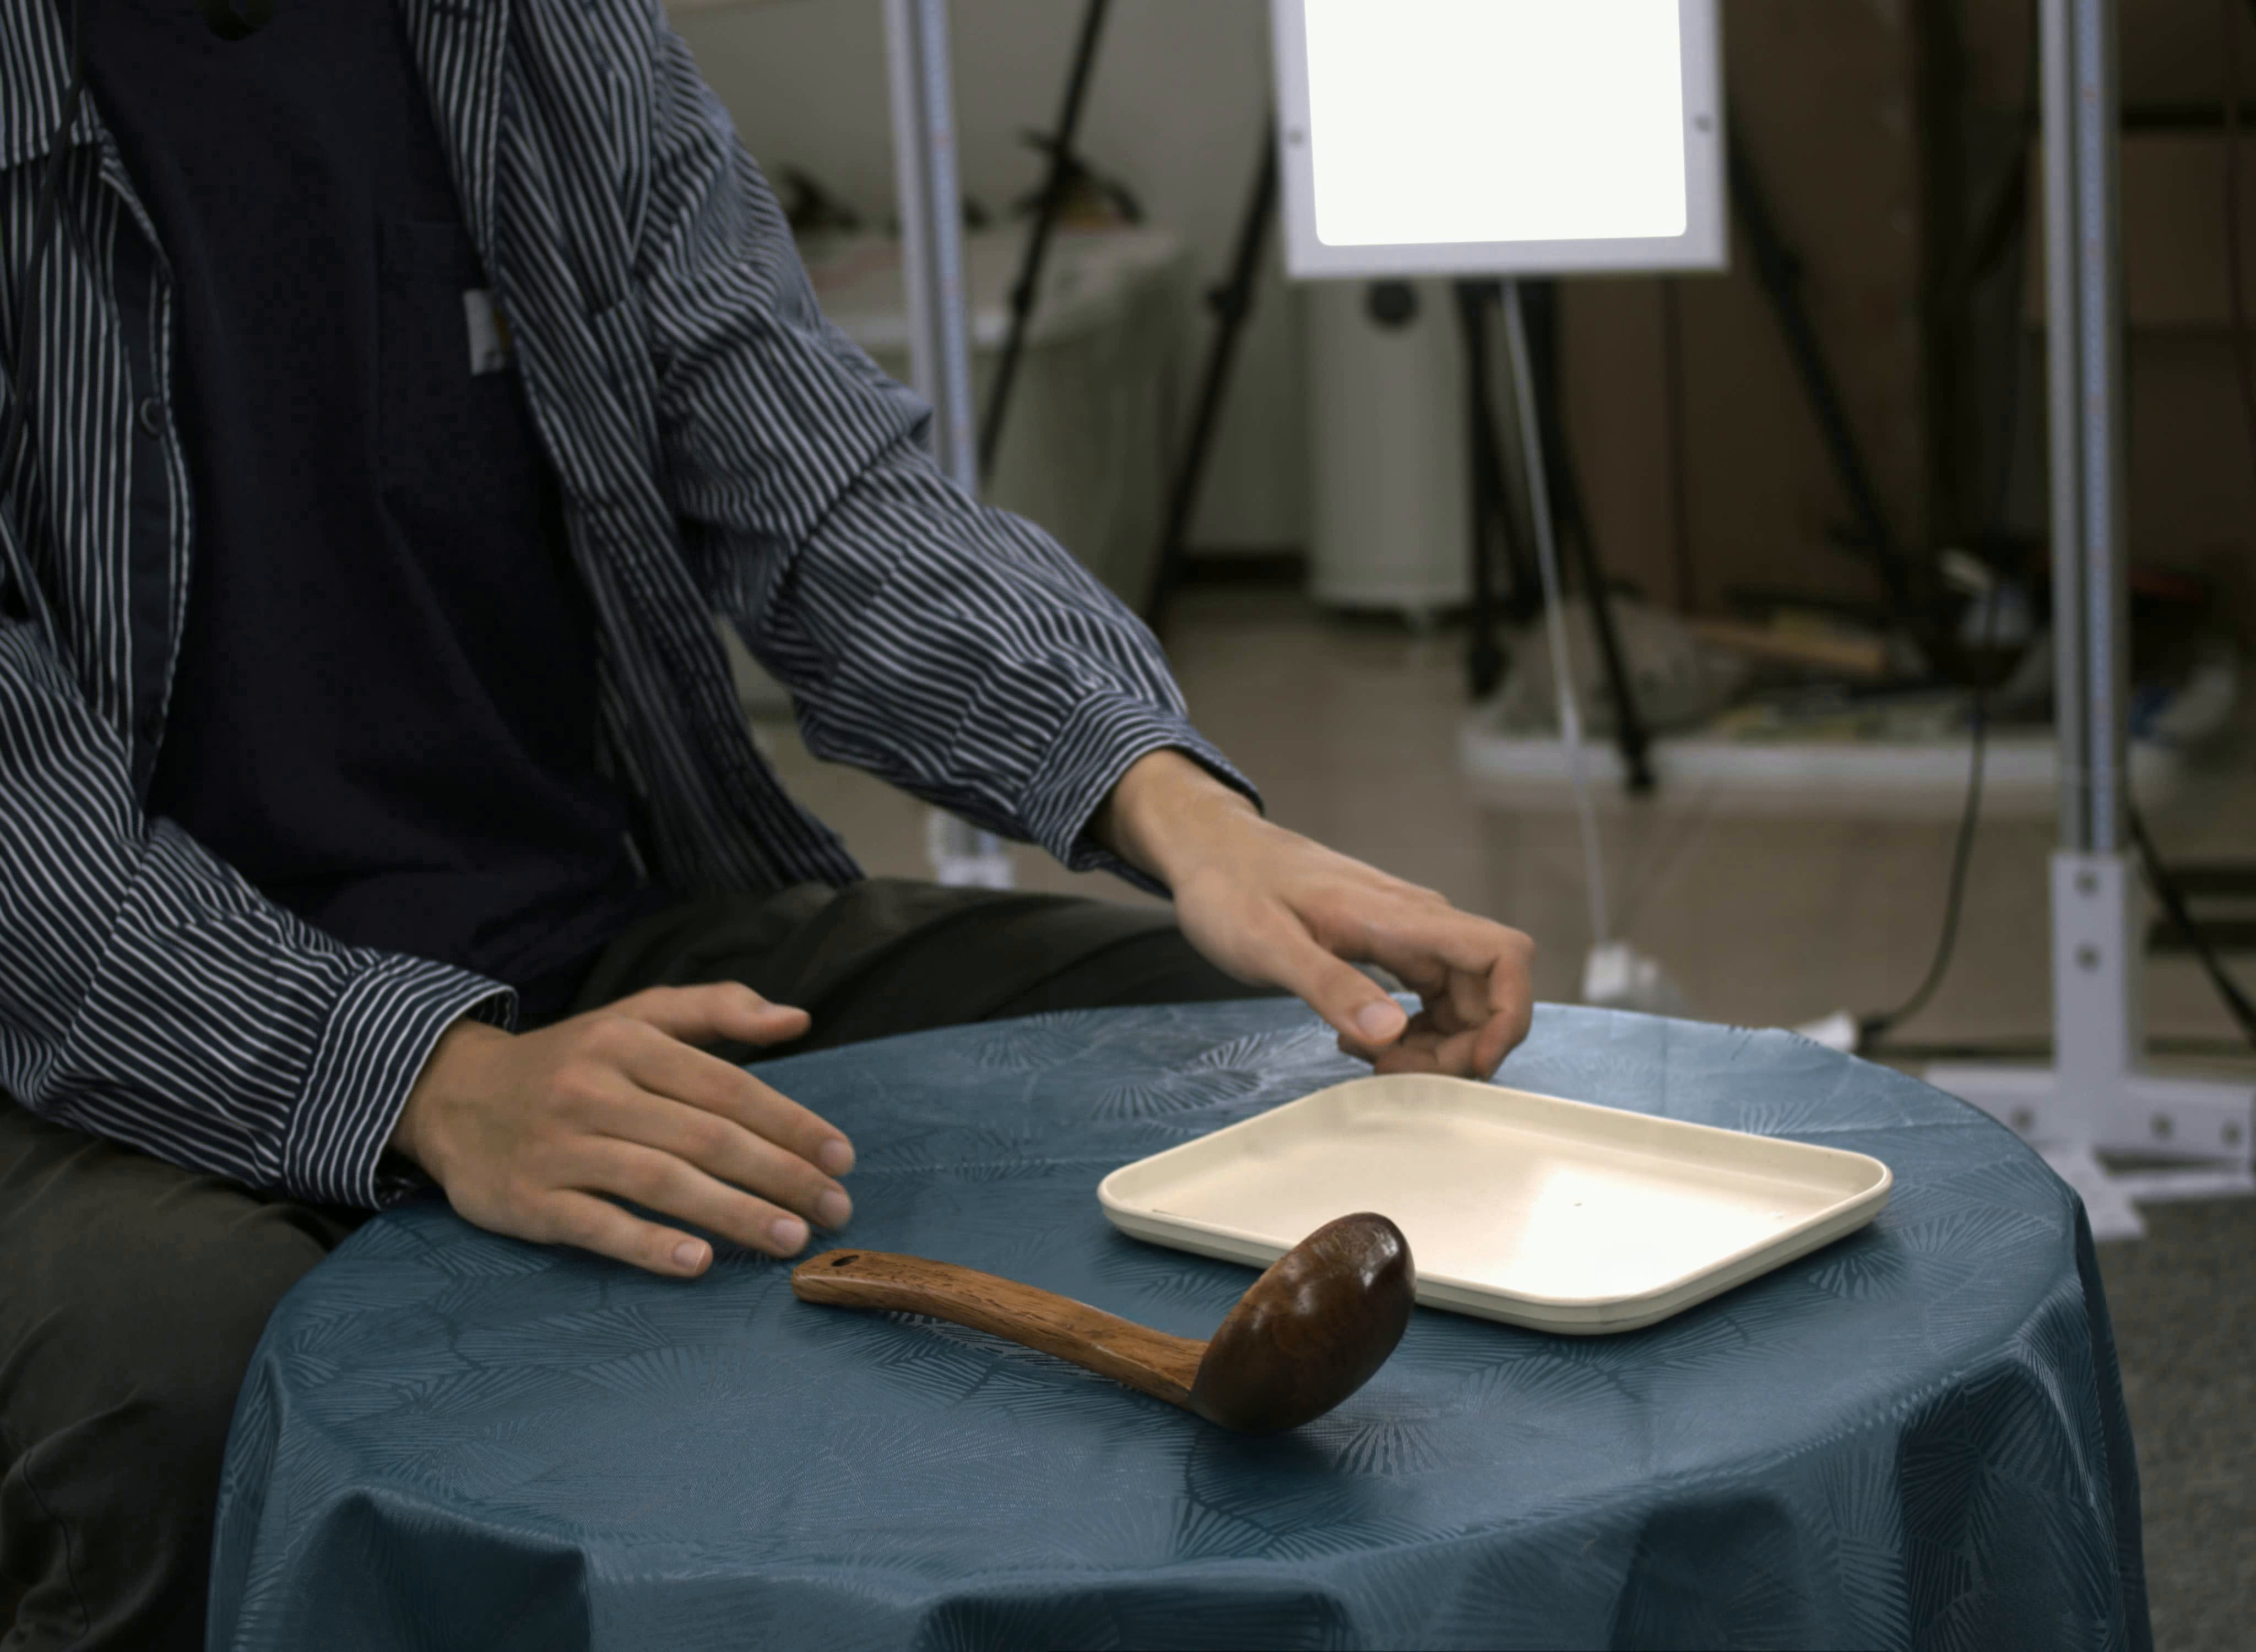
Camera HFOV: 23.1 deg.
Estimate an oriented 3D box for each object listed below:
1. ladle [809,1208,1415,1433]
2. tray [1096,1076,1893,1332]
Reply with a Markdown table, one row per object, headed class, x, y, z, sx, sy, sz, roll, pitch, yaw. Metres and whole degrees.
| class | x | y | z | sx | sy | sz | roll | pitch | yaw |
| --- | --- | --- | --- | --- | --- | --- | --- | --- | --- |
| ladle | -0.018 | 0.134 | 1.707 | 0.080 | 0.077 | 0.280 | -20 | 20 | -36 |
| tray | 0.121 | 0.124 | 1.820 | 0.245 | 0.017 | 0.167 | 8 | 19 | 45 |
